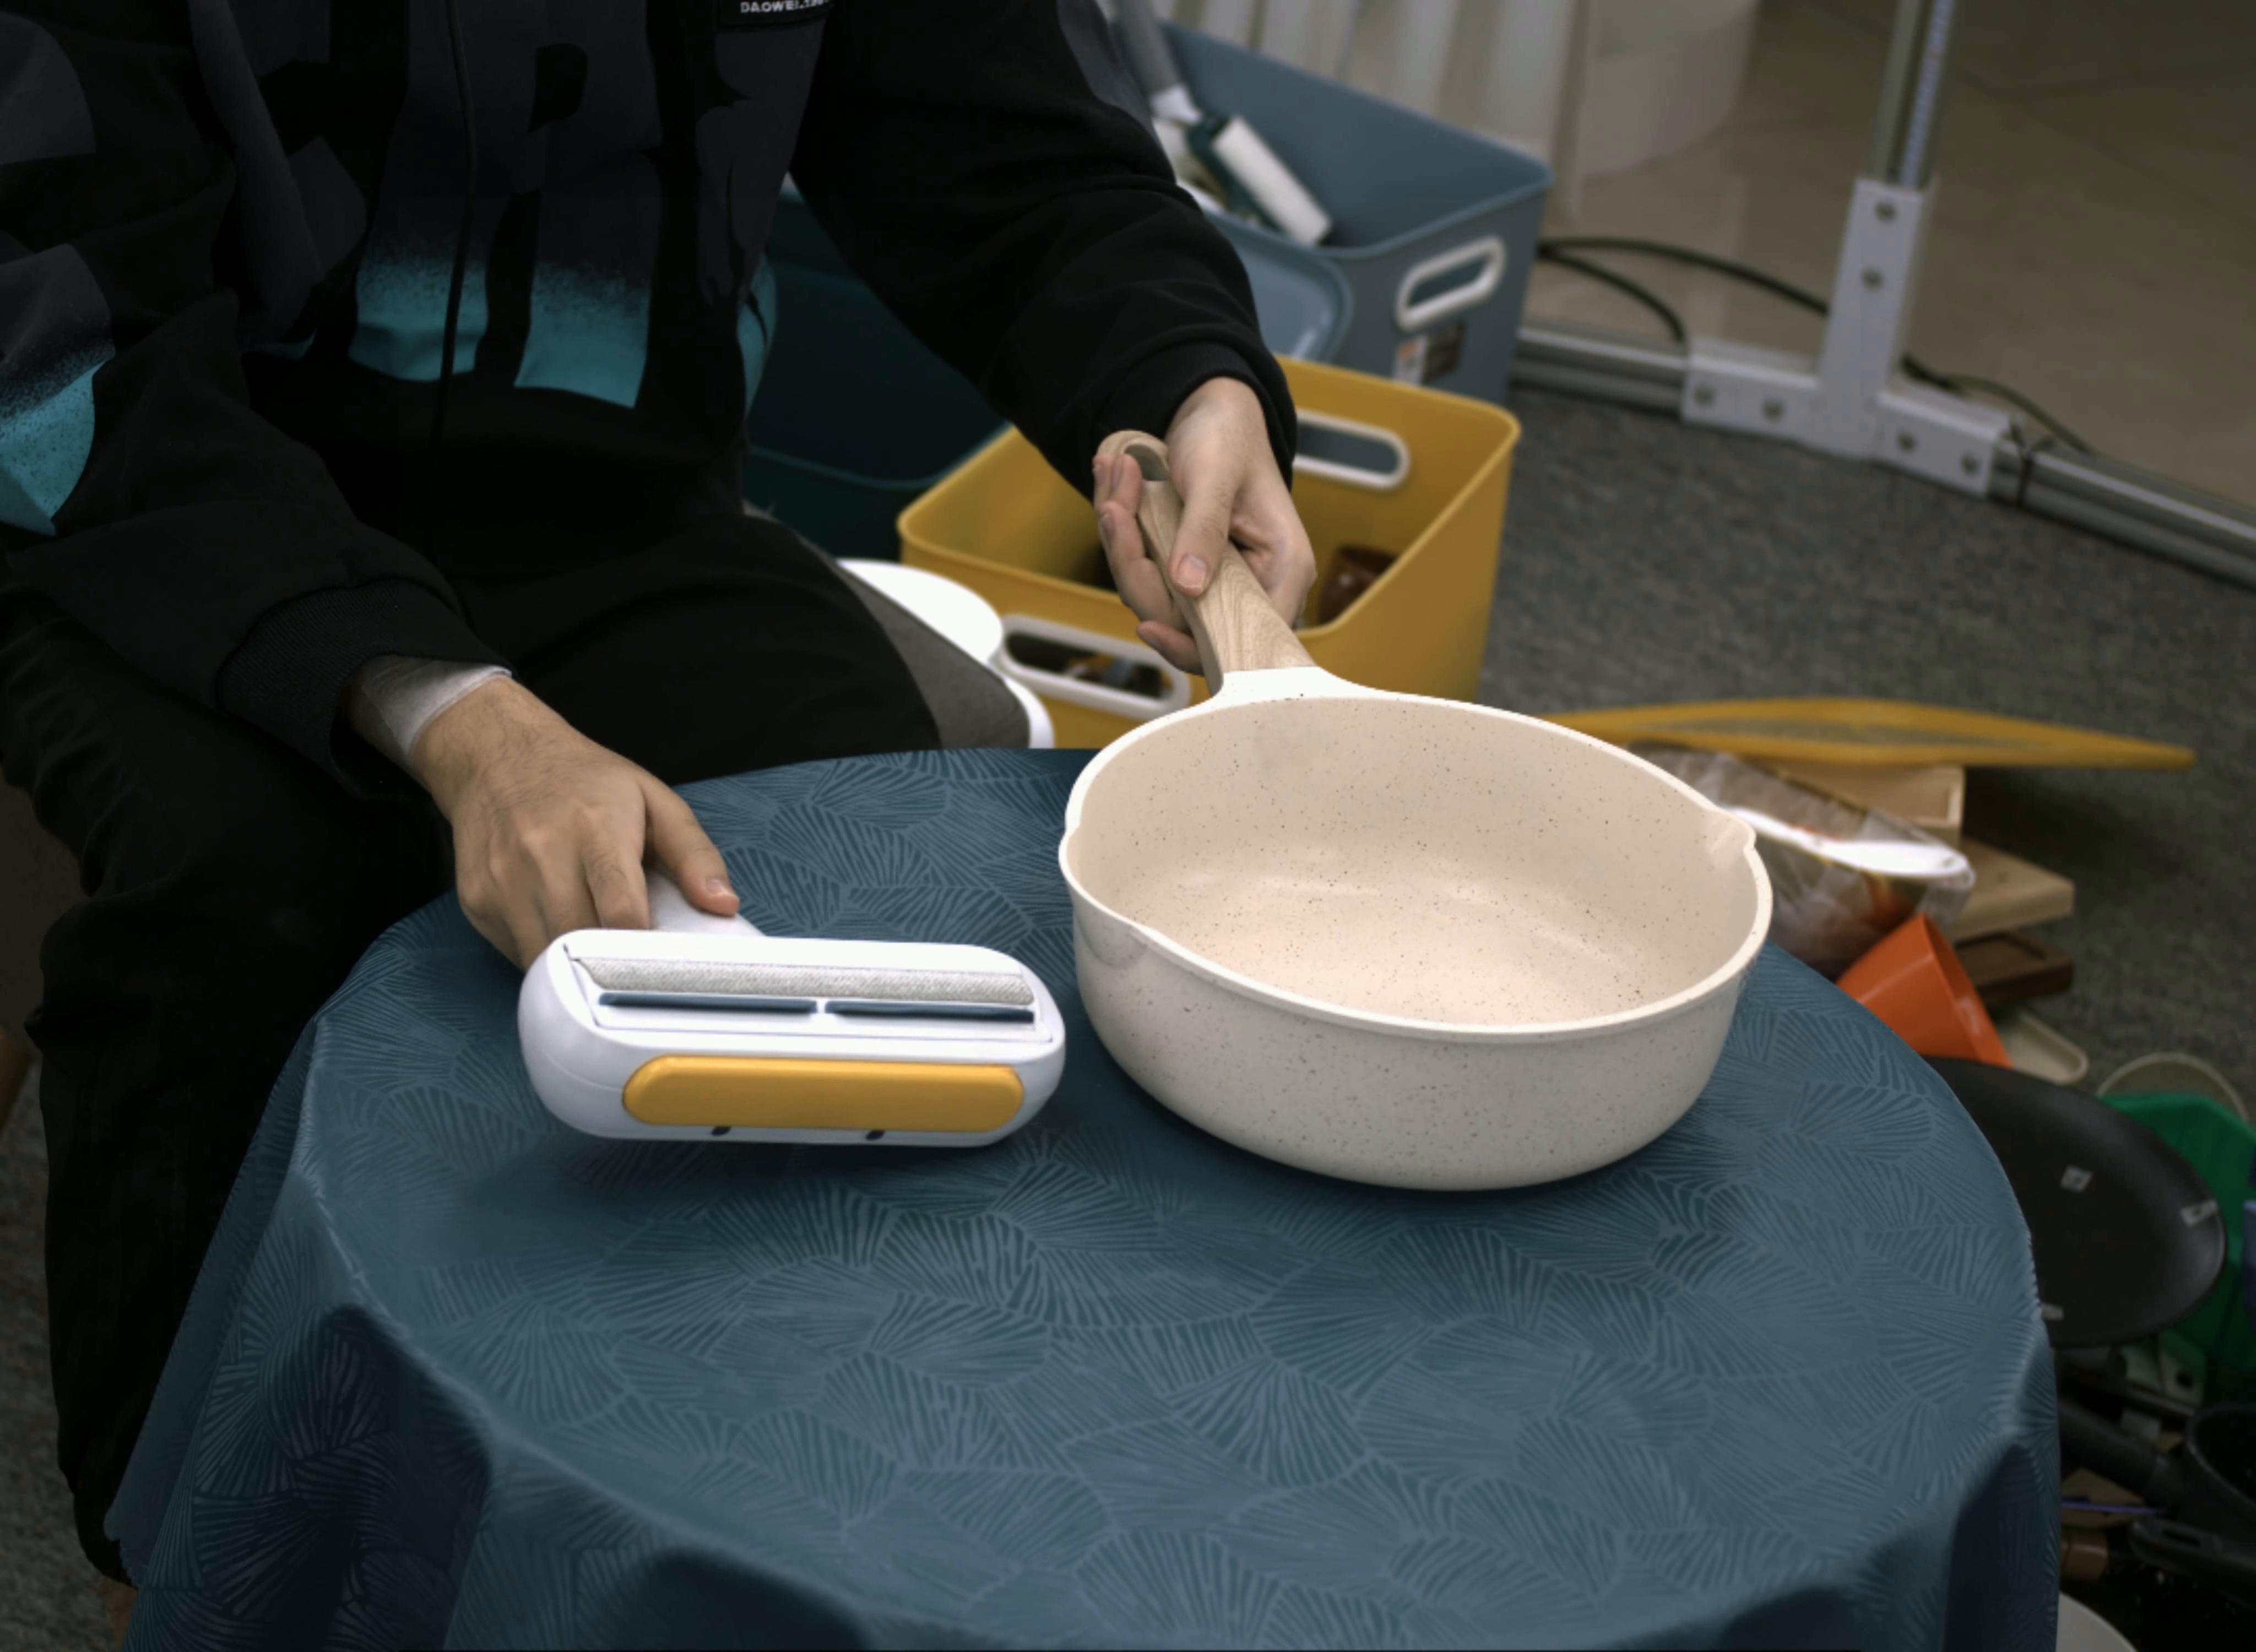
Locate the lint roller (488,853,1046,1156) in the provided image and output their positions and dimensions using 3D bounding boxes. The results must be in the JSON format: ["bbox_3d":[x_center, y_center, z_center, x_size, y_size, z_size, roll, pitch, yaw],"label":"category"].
[{"bbox_3d":[-0.140,0.049,1.832,0.191,0.074,0.194,1,30,-23],"label":"lint roller"}]

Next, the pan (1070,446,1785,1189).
[{"bbox_3d":[0.071,-0.006,1.959,0.262,0.101,0.439,-7,30,-19],"label":"pan"}]
